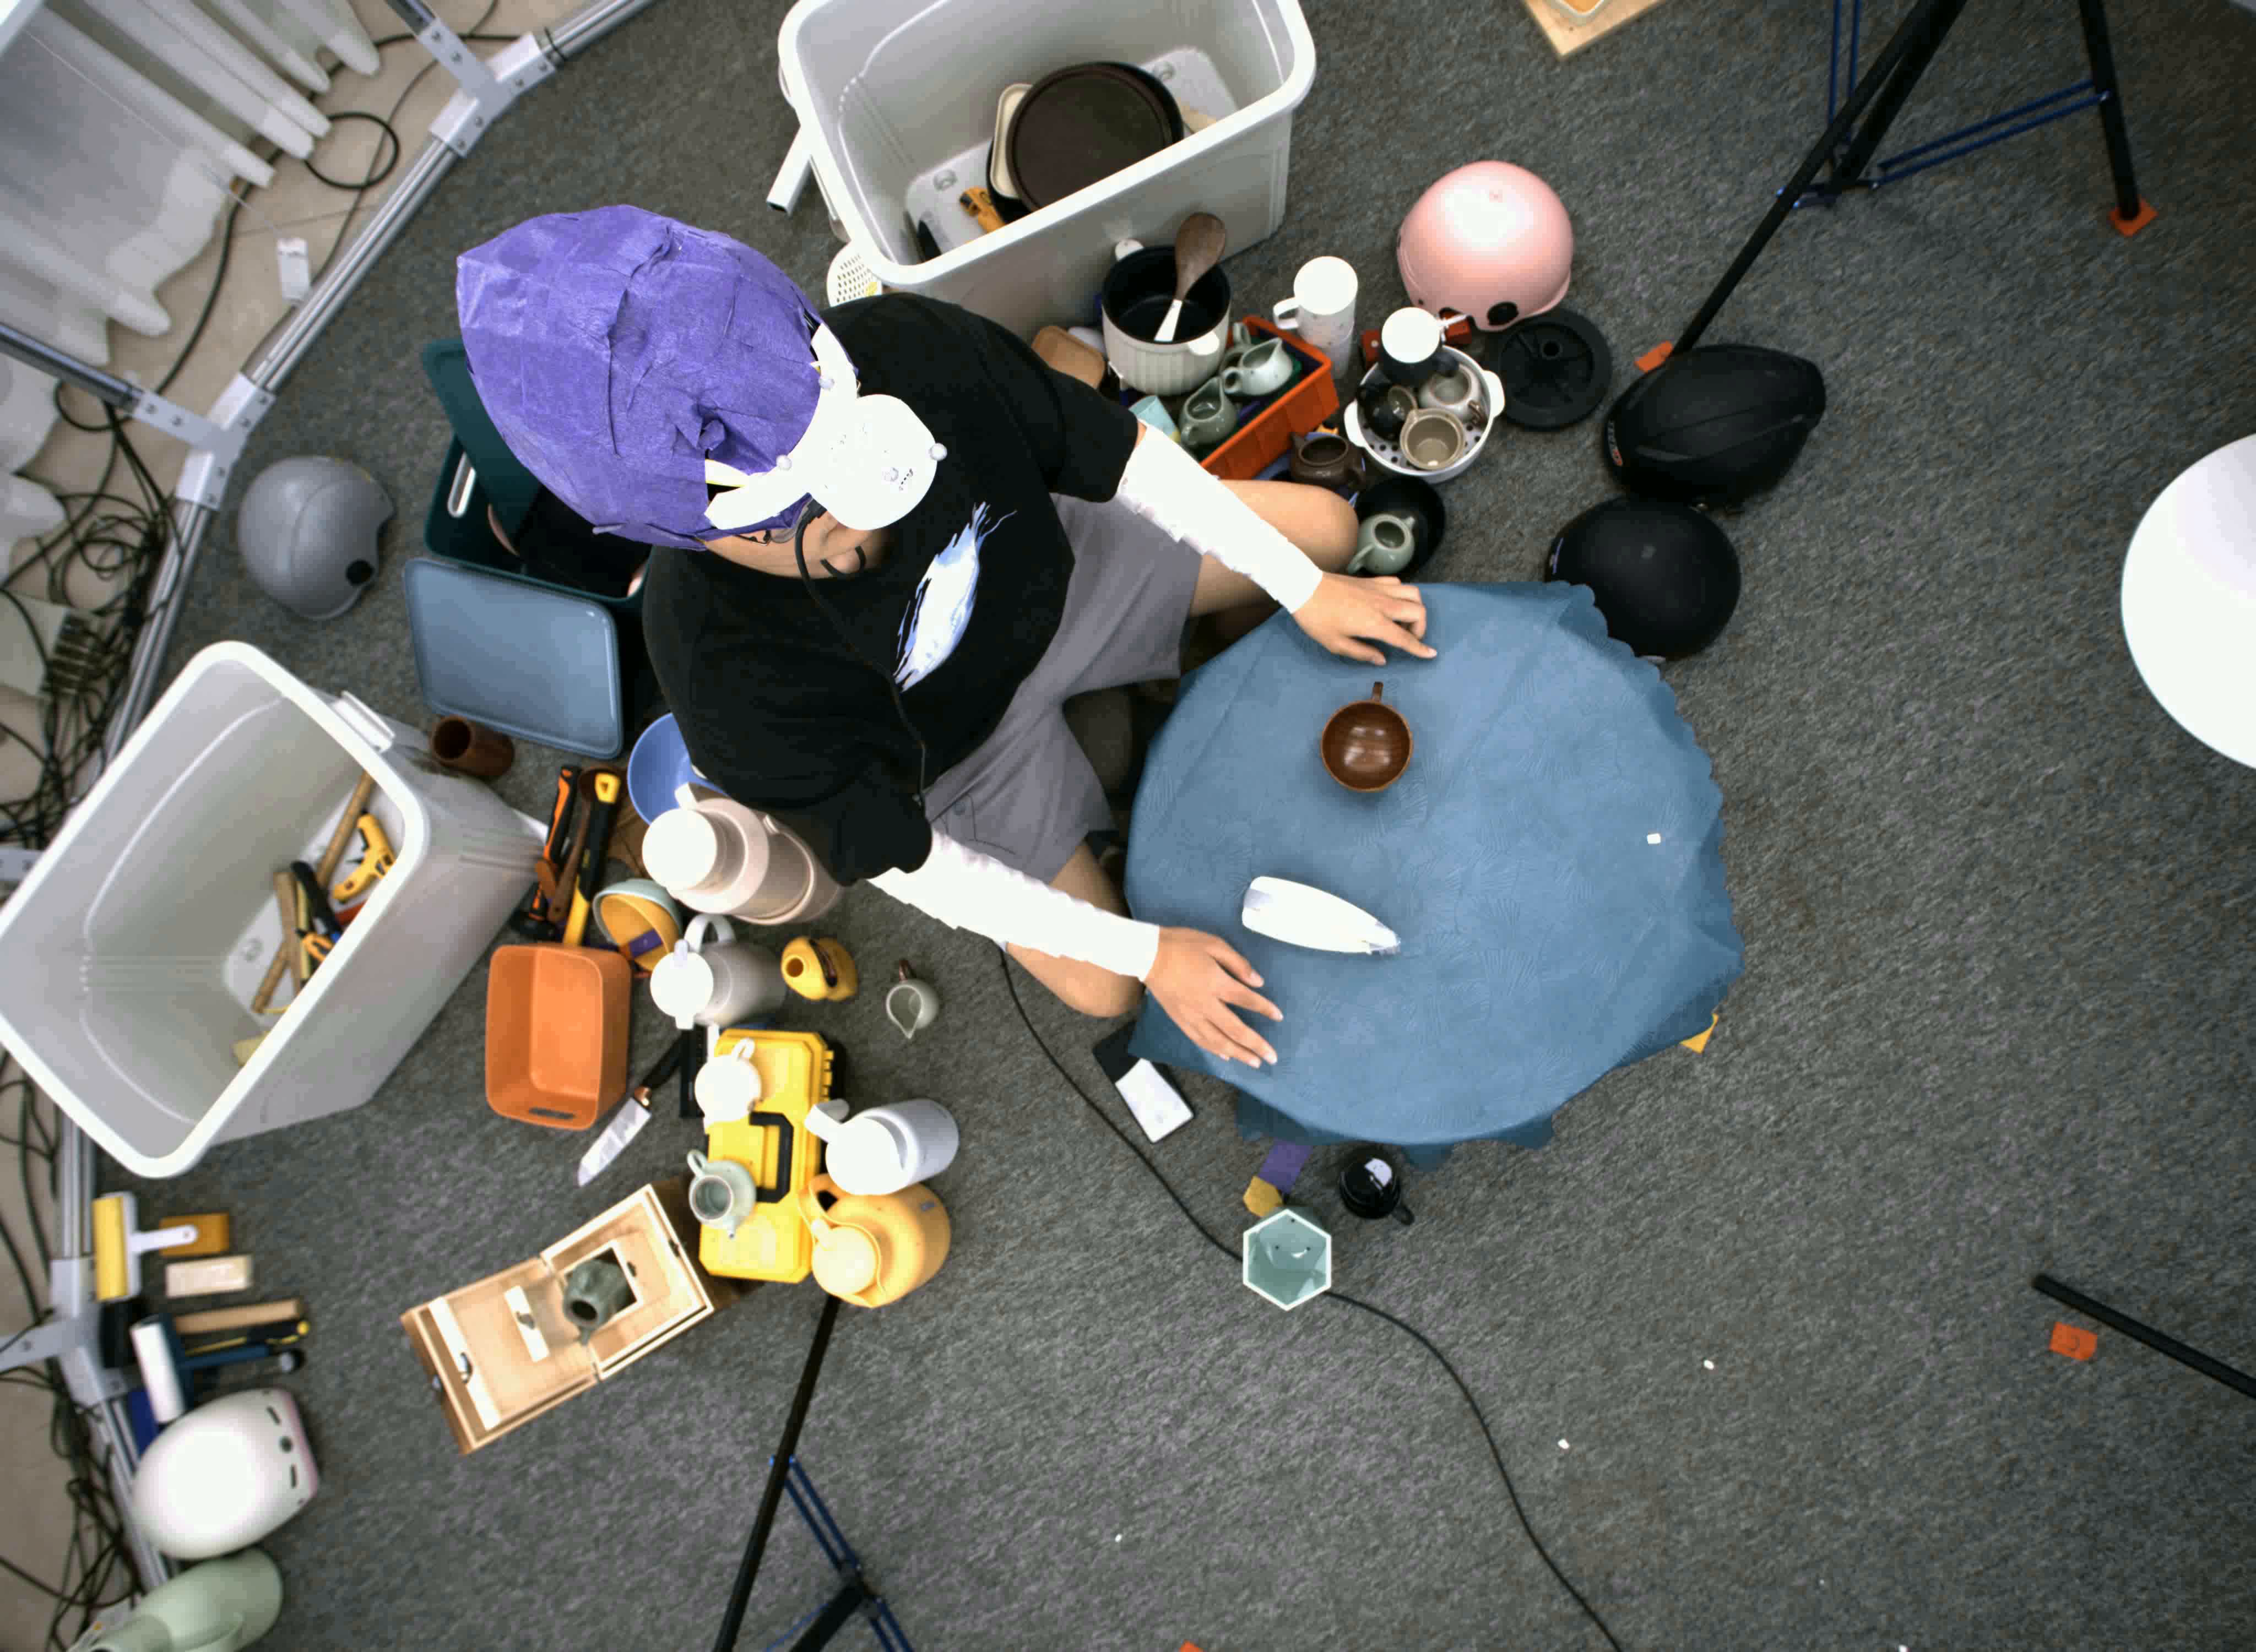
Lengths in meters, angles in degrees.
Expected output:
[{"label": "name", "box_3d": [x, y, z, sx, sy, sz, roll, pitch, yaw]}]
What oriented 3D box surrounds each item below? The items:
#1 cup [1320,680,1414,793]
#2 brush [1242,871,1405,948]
[{"label": "cup", "box_3d": [0.252, -0.093, 1.437, 0.096, 0.068, 0.119, 10, 87, 13]}, {"label": "brush", "box_3d": [0.202, 0.094, 1.424, 0.175, 0.094, 0.061, 17, 92, 9]}]
